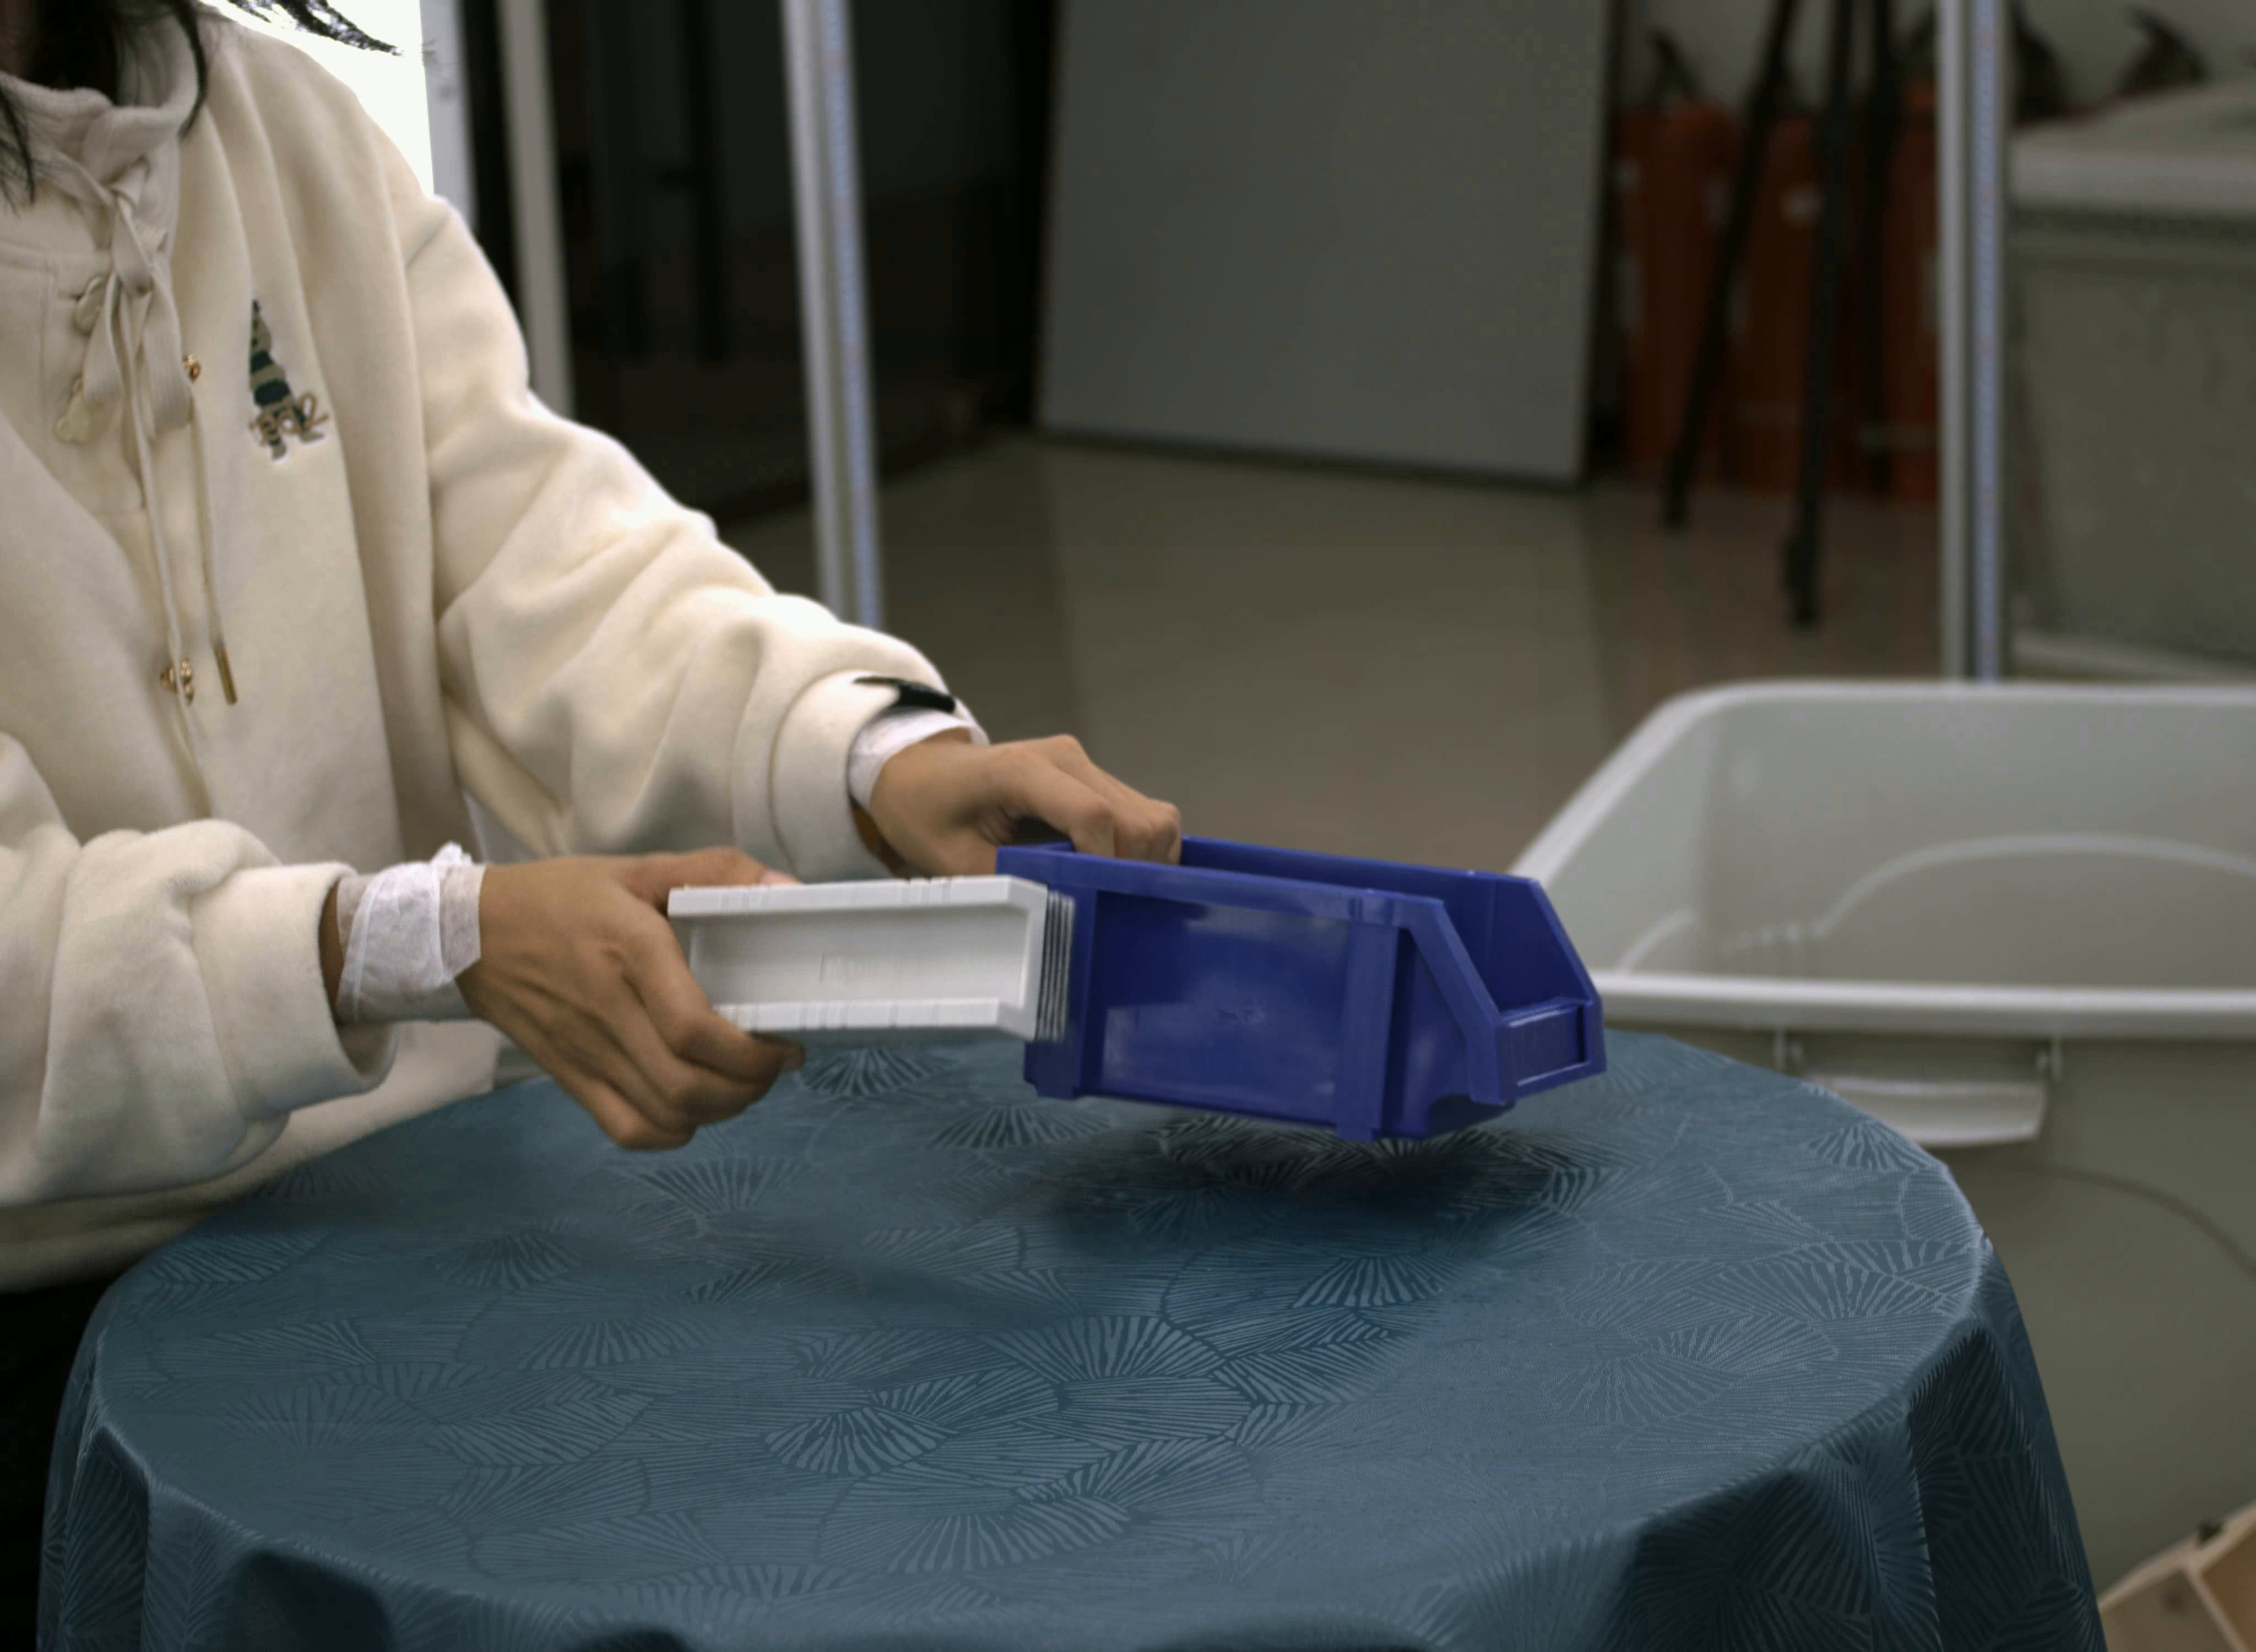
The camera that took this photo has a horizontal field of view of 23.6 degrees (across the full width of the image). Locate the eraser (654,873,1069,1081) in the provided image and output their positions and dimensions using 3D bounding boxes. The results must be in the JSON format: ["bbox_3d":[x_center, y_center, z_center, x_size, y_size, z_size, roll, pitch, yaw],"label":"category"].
[{"bbox_3d":[-0.084,0.049,1.714,0.135,0.050,0.046,-6,-17,33],"label":"eraser"}]

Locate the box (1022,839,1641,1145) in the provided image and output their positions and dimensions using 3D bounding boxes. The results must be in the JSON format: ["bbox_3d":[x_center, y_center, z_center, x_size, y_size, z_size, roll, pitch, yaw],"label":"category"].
[{"bbox_3d":[0.069,0.054,1.768,0.179,0.083,0.123,4,4,24],"label":"box"}]
